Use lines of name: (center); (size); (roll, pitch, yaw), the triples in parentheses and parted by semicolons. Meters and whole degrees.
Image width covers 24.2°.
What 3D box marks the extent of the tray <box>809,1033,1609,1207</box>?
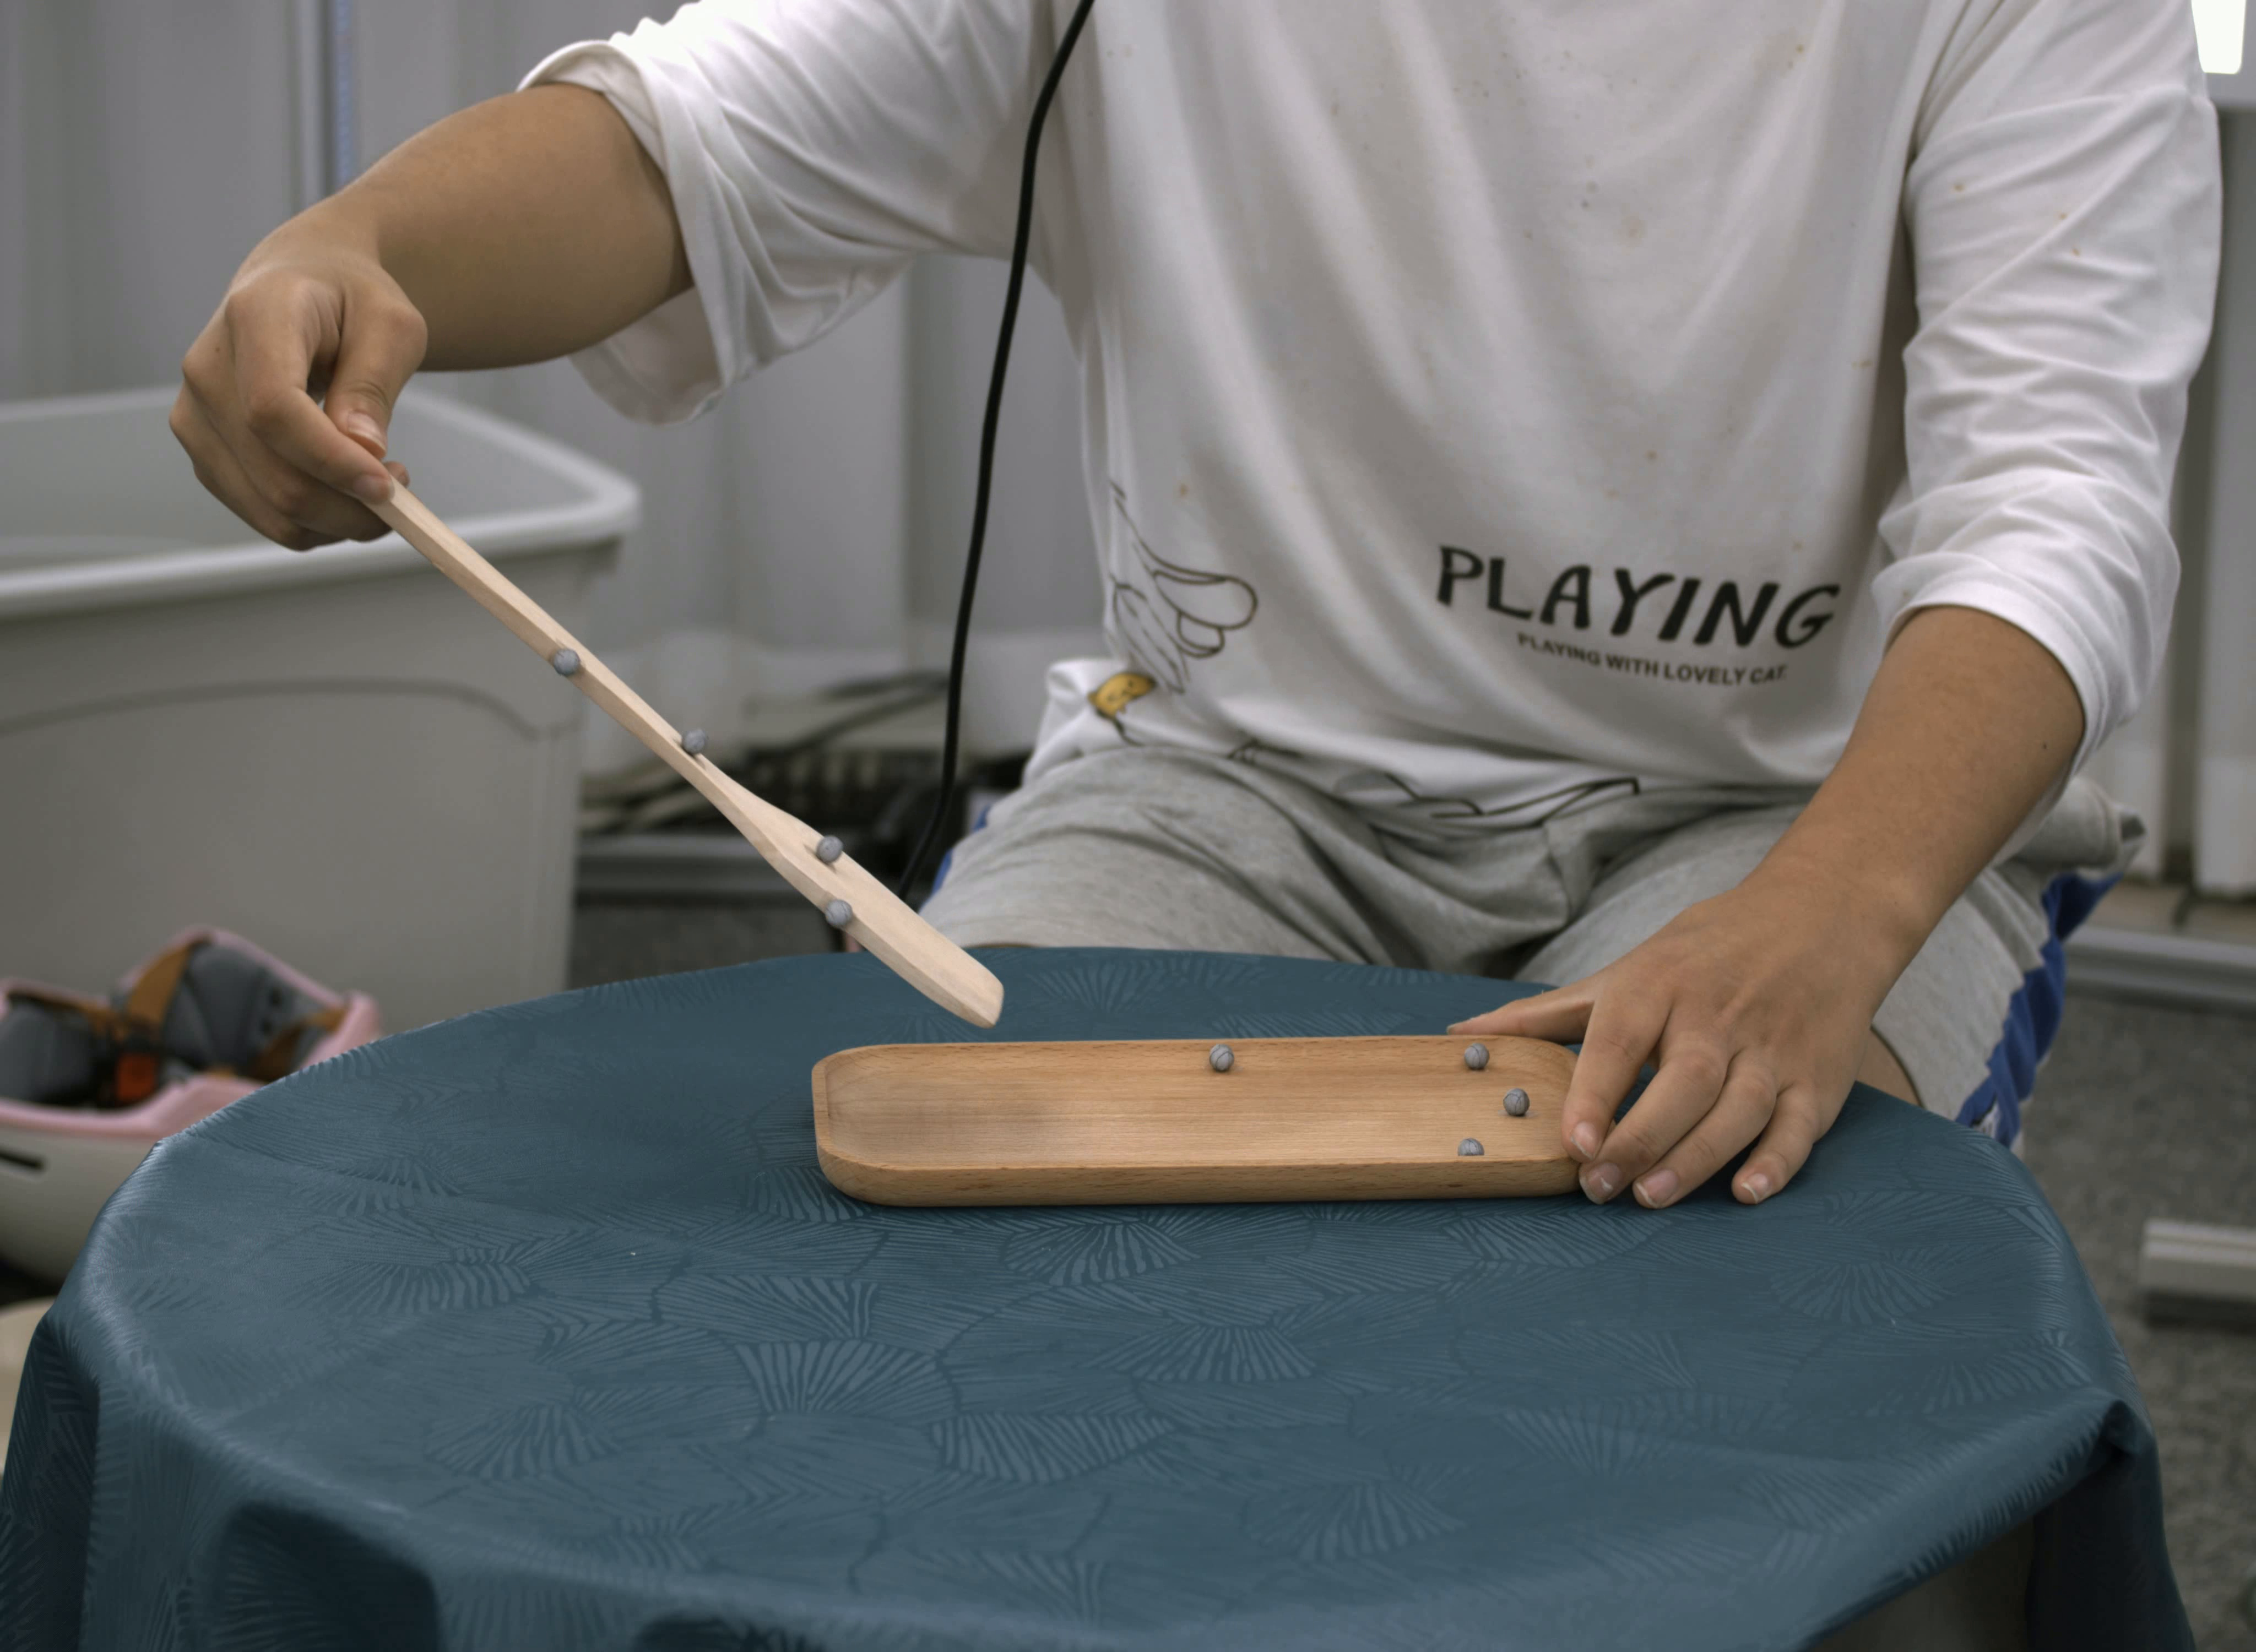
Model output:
tray: (0.024, 0.093, 1.674); (0.250, 0.023, 0.130); (-1, 13, -4)

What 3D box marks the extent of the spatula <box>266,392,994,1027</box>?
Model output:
spatula: (-0.155, -0.036, 1.635); (0.294, 0.010, 0.072); (41, 8, -7)
